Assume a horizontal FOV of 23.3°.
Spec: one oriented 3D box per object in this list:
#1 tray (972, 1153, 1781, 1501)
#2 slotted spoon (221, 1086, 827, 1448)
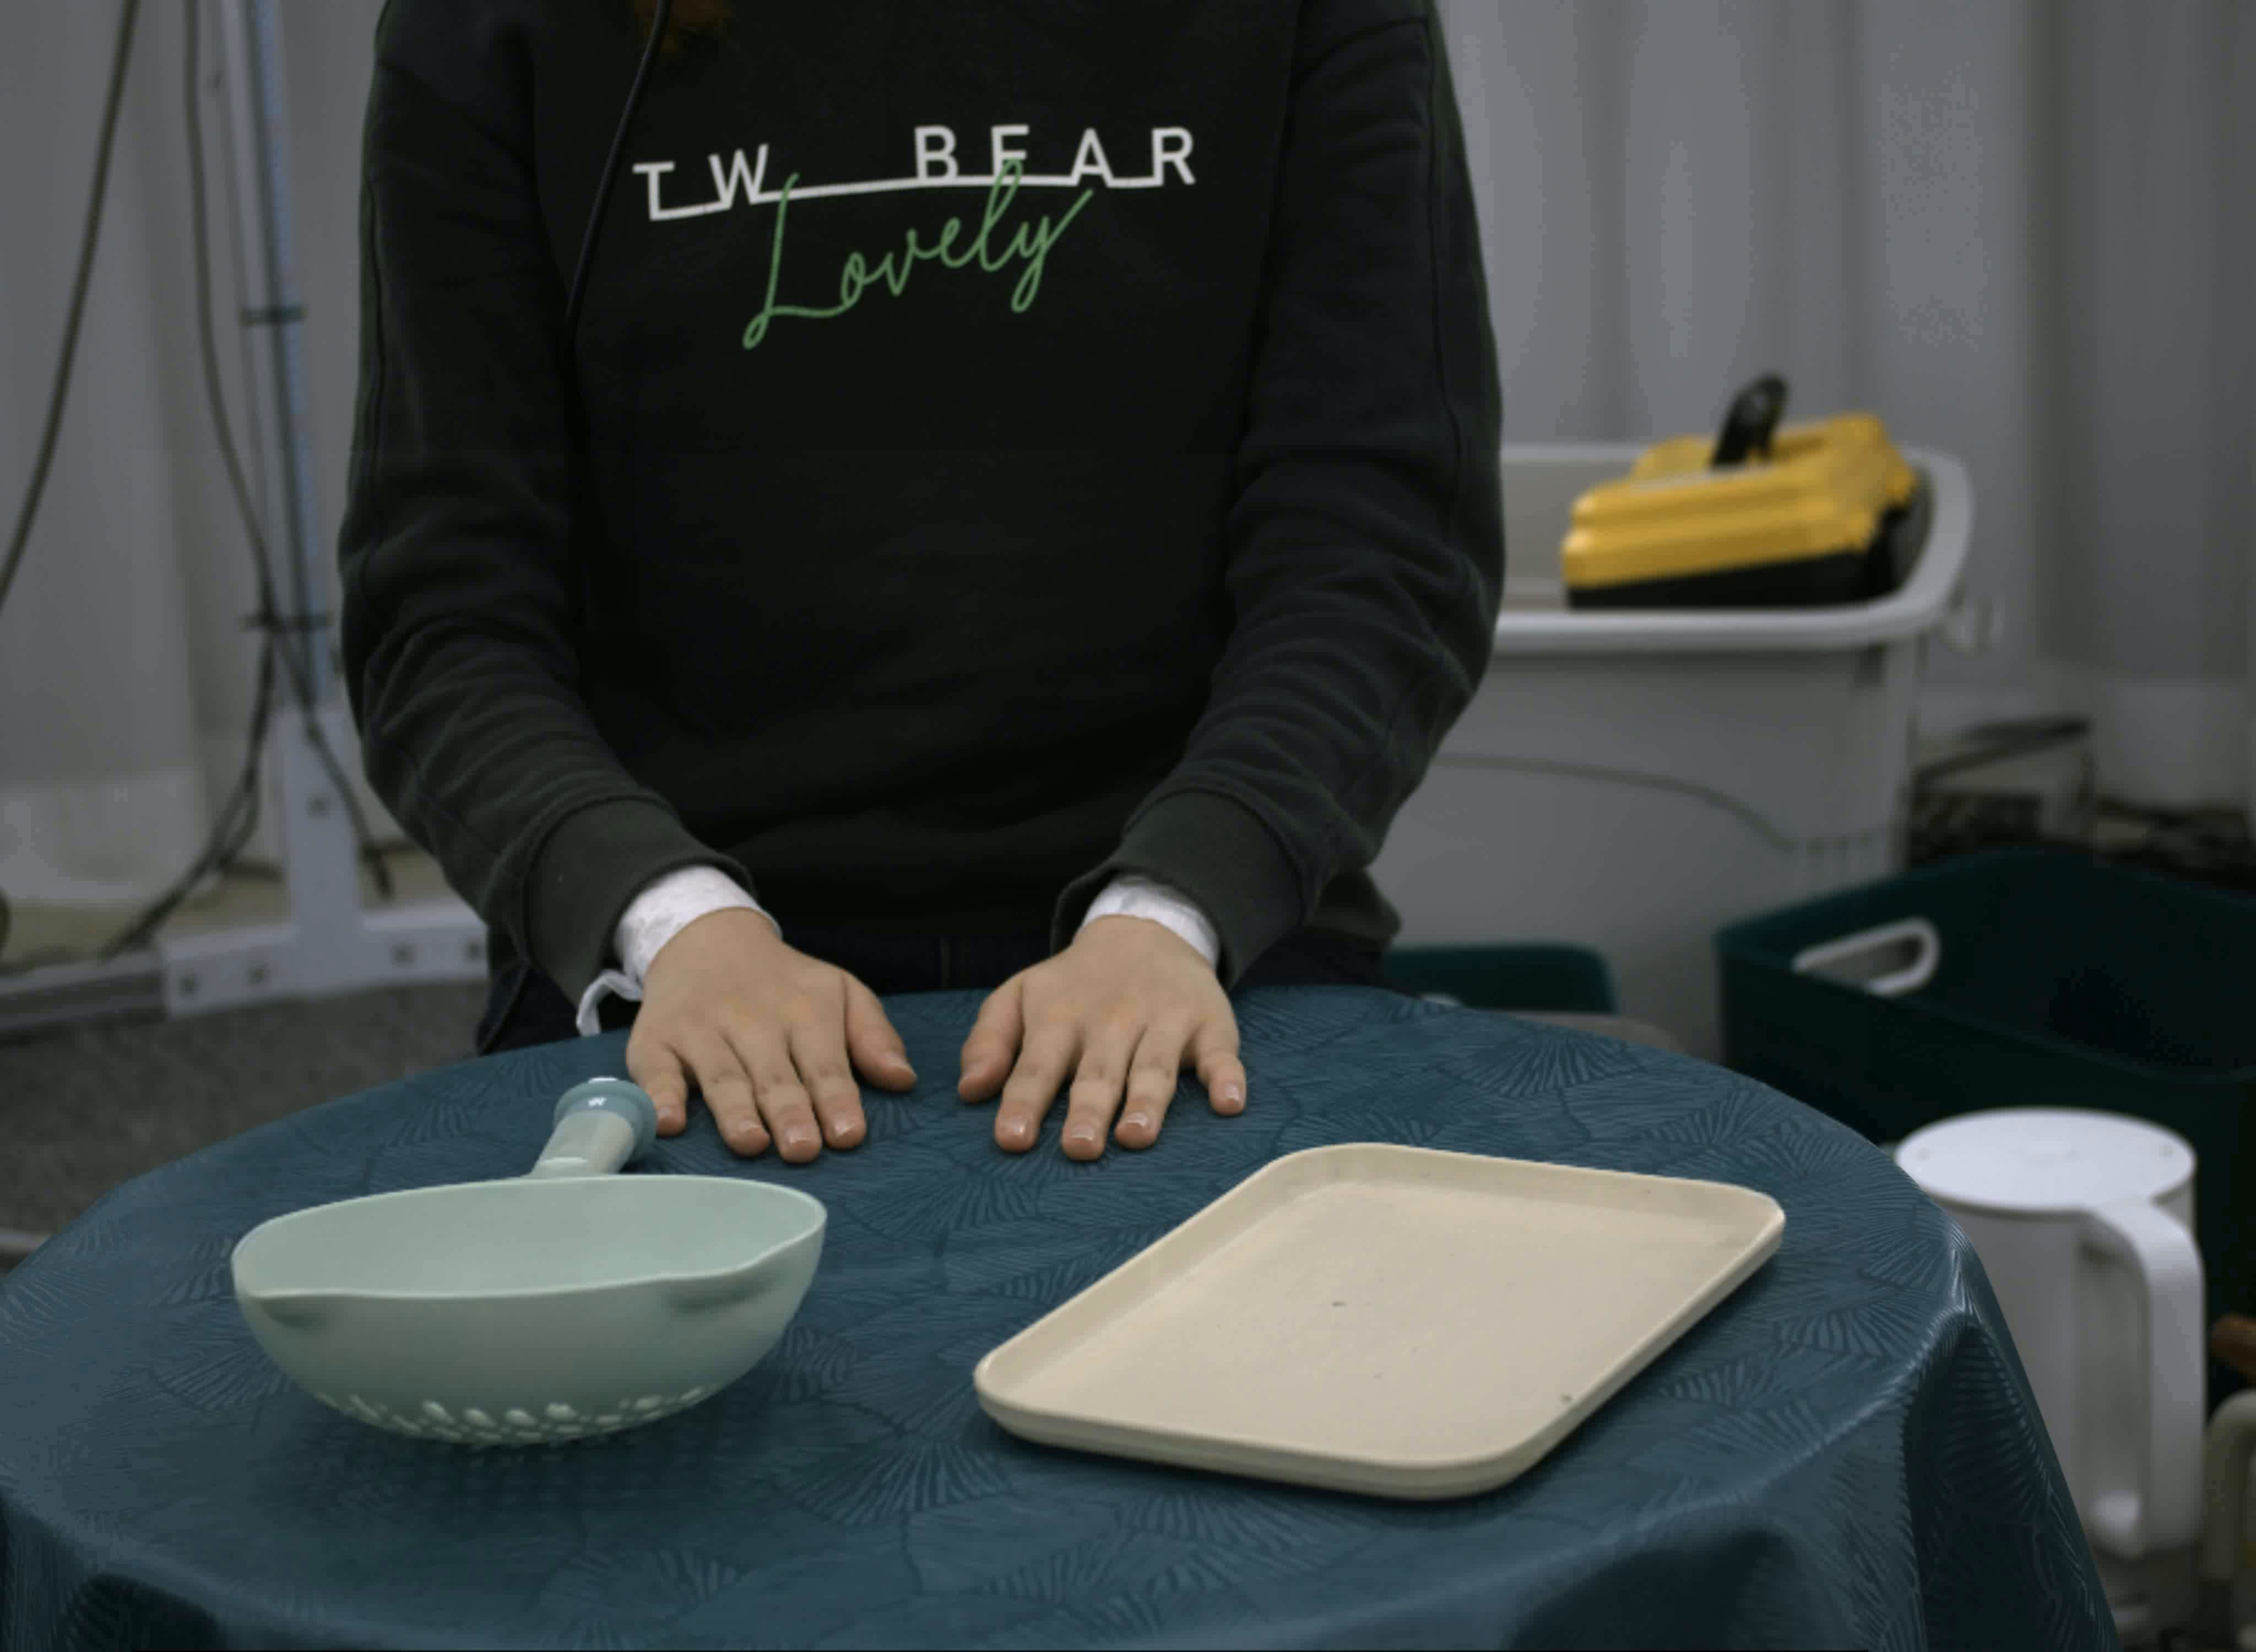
[{"bbox_3d":[0.075,0.142,1.567,0.171,0.017,0.240,5,16,27],"label":"tray"},{"bbox_3d":[-0.167,0.115,1.625,0.169,0.075,0.361,-2,14,1],"label":"slotted spoon"}]
